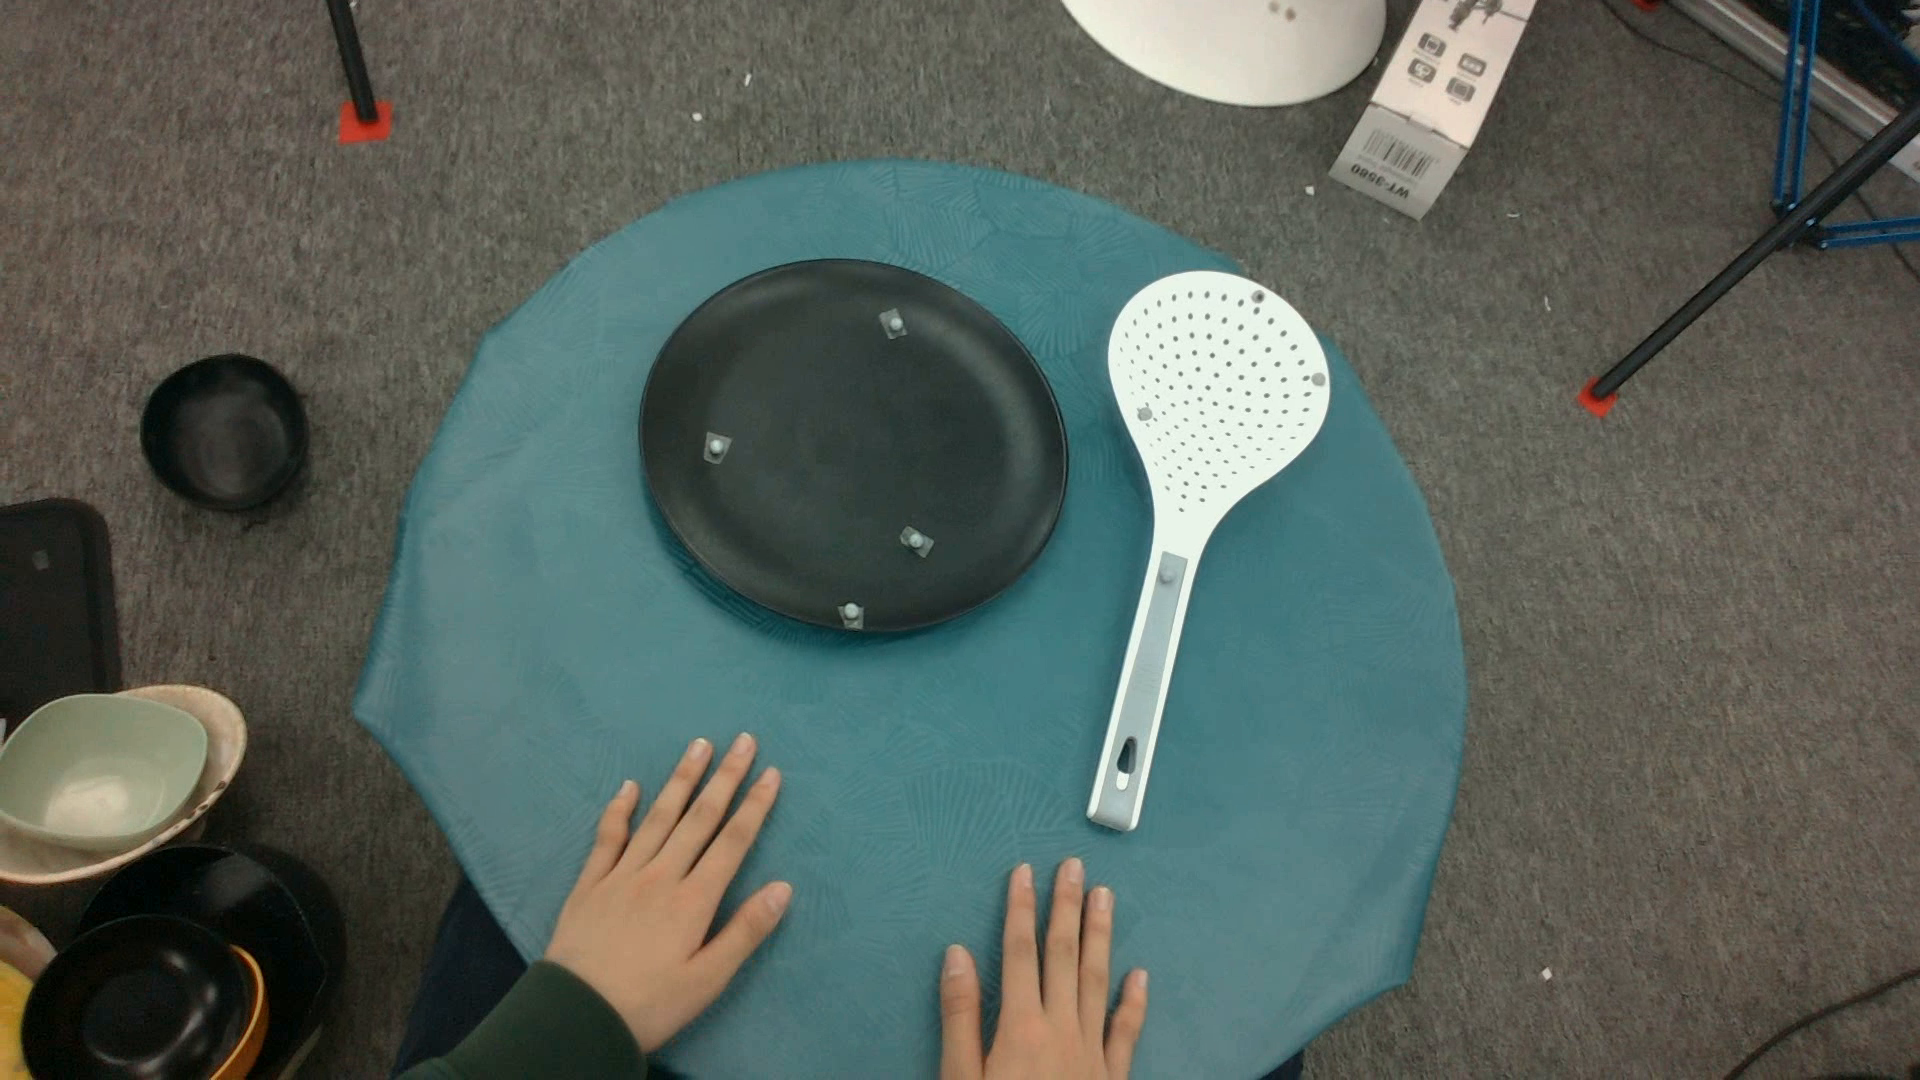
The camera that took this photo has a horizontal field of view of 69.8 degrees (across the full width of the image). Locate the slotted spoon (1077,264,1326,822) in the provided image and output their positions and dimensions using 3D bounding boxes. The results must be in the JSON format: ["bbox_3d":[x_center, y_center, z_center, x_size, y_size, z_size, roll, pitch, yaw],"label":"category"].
[{"bbox_3d":[0.123,-0.009,0.785,0.136,0.045,0.351,18,62,-1],"label":"slotted spoon"}]

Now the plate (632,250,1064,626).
[{"bbox_3d":[-0.061,-0.060,0.781,0.244,0.023,0.245,5,63,-11],"label":"plate"}]
